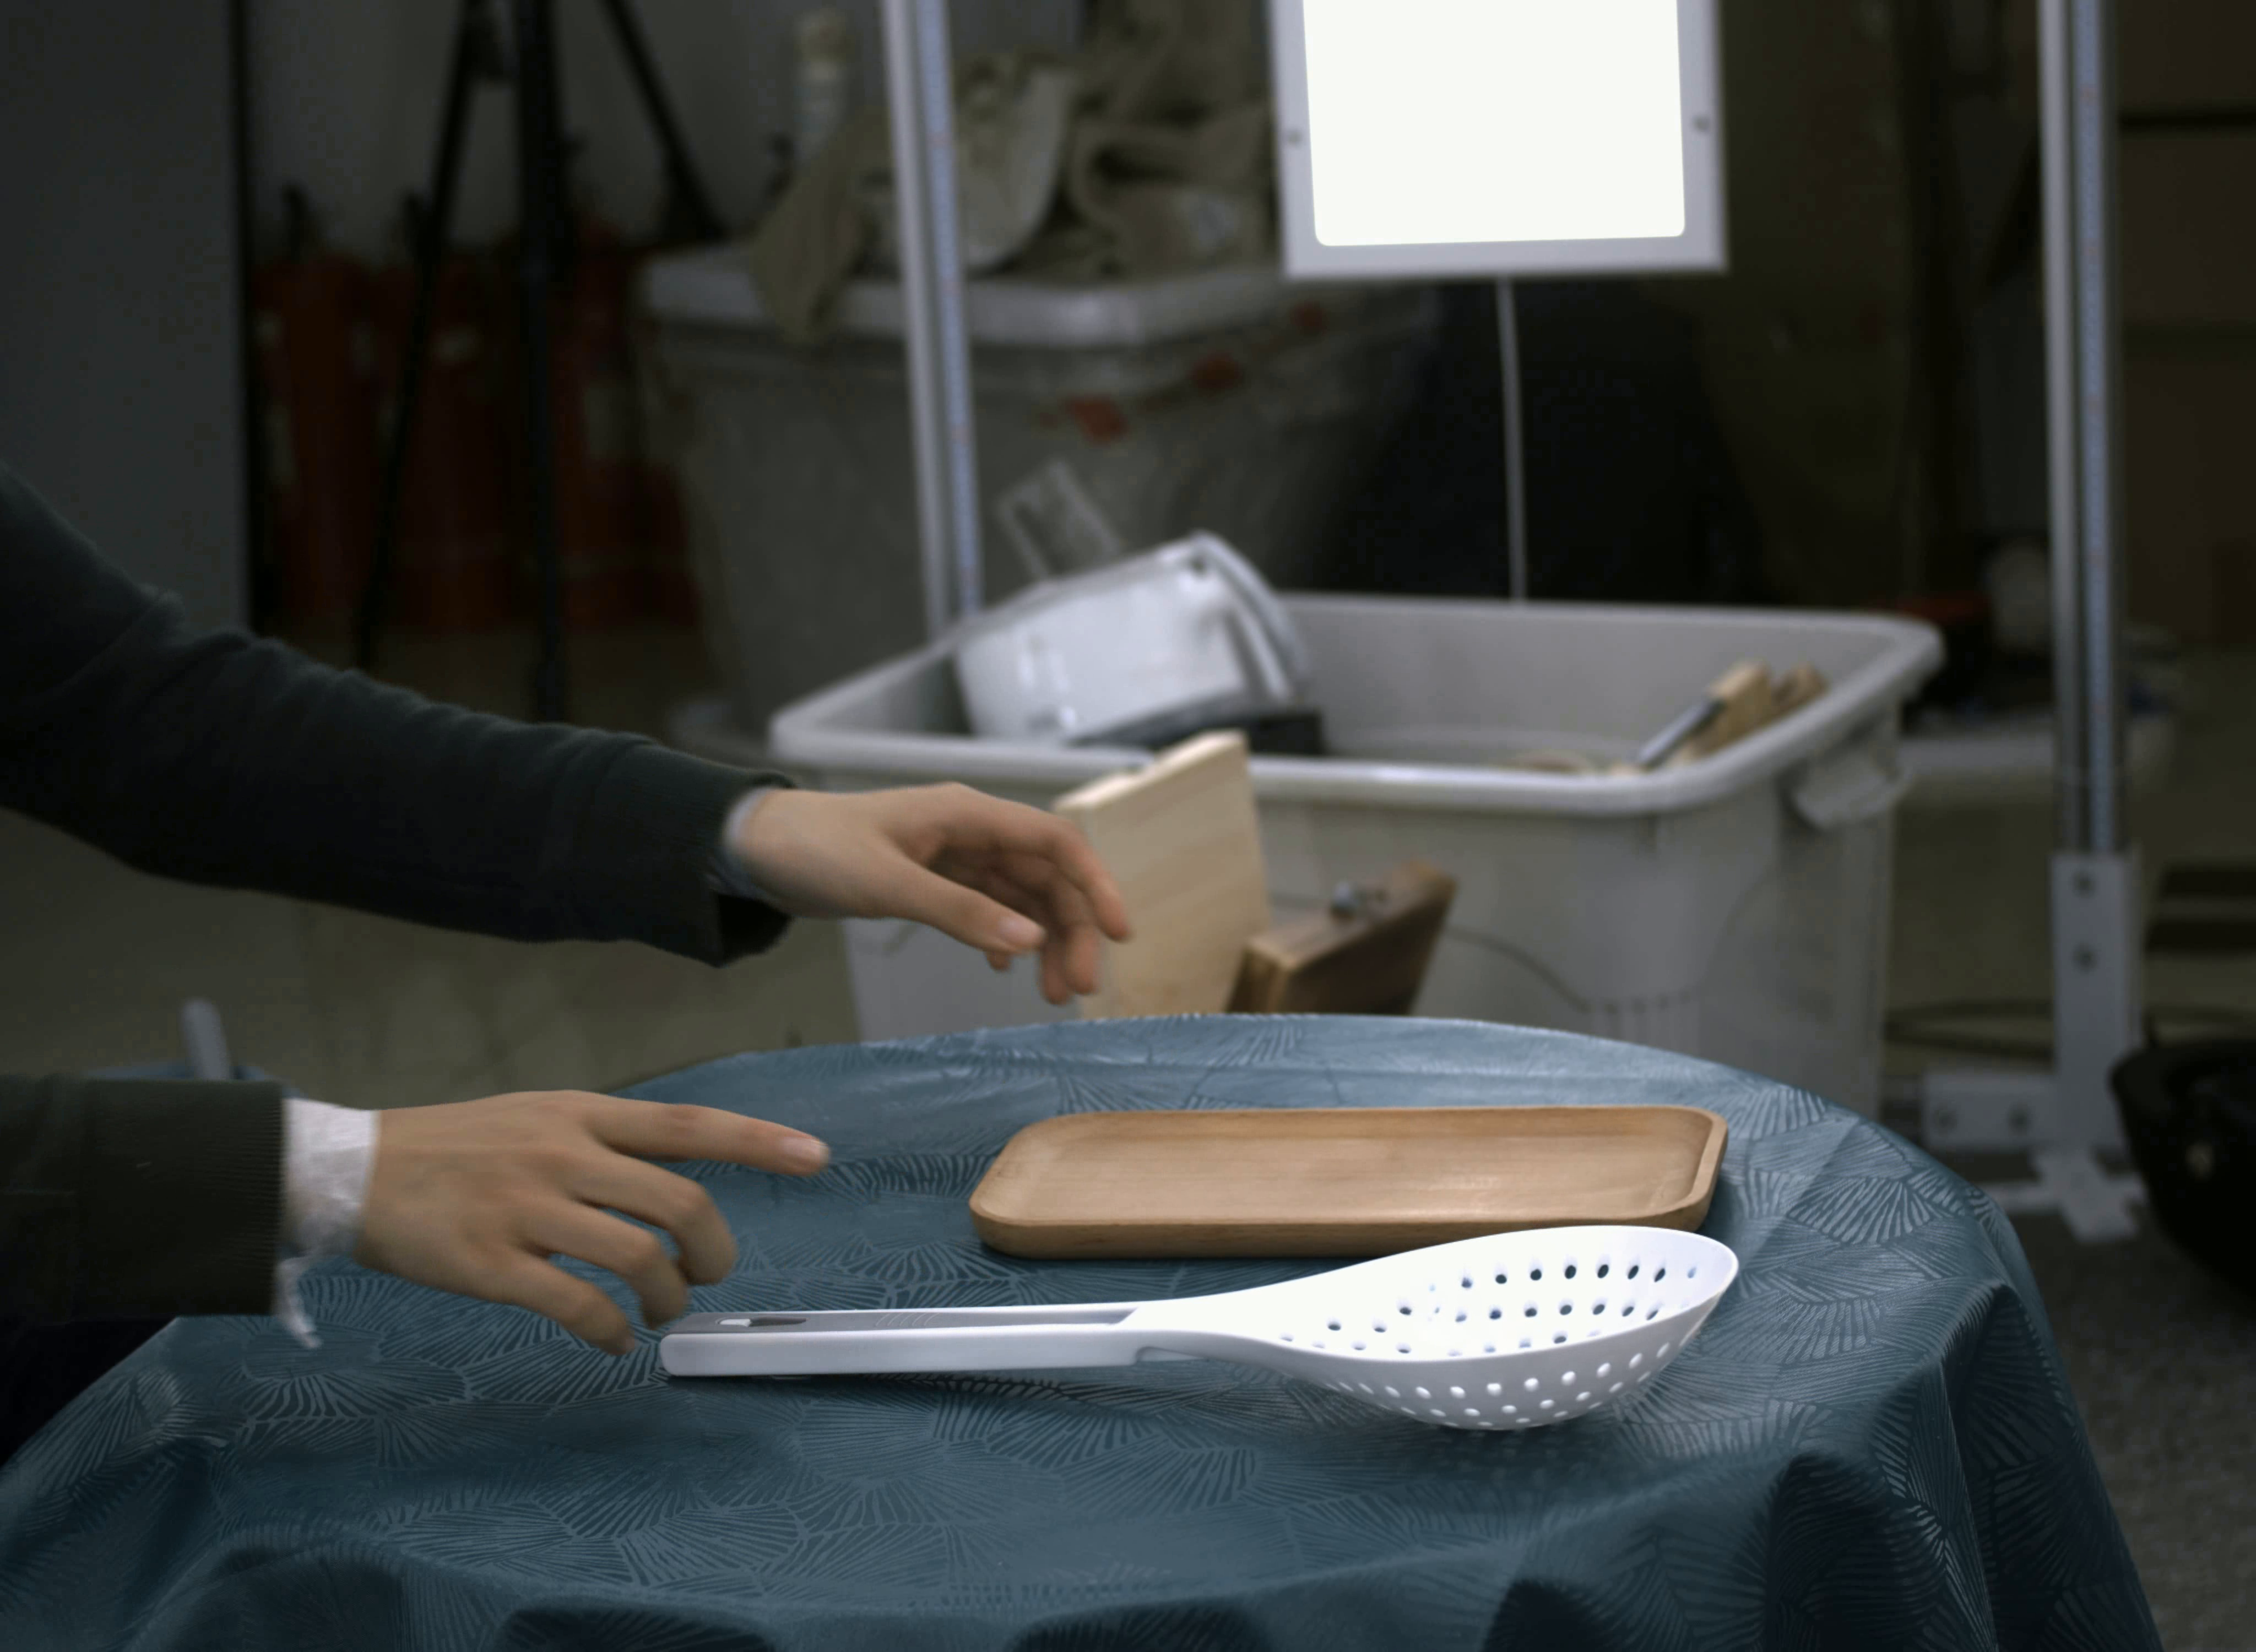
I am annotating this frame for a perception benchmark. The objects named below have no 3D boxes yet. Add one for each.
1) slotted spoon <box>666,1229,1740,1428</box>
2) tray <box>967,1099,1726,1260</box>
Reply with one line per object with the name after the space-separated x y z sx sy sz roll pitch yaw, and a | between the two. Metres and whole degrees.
0.017 0.153 1.686 0.355 0.046 0.133 0 11 24 | slotted spoon
0.075 0.120 1.863 0.253 0.023 0.129 -2 12 14 | tray
